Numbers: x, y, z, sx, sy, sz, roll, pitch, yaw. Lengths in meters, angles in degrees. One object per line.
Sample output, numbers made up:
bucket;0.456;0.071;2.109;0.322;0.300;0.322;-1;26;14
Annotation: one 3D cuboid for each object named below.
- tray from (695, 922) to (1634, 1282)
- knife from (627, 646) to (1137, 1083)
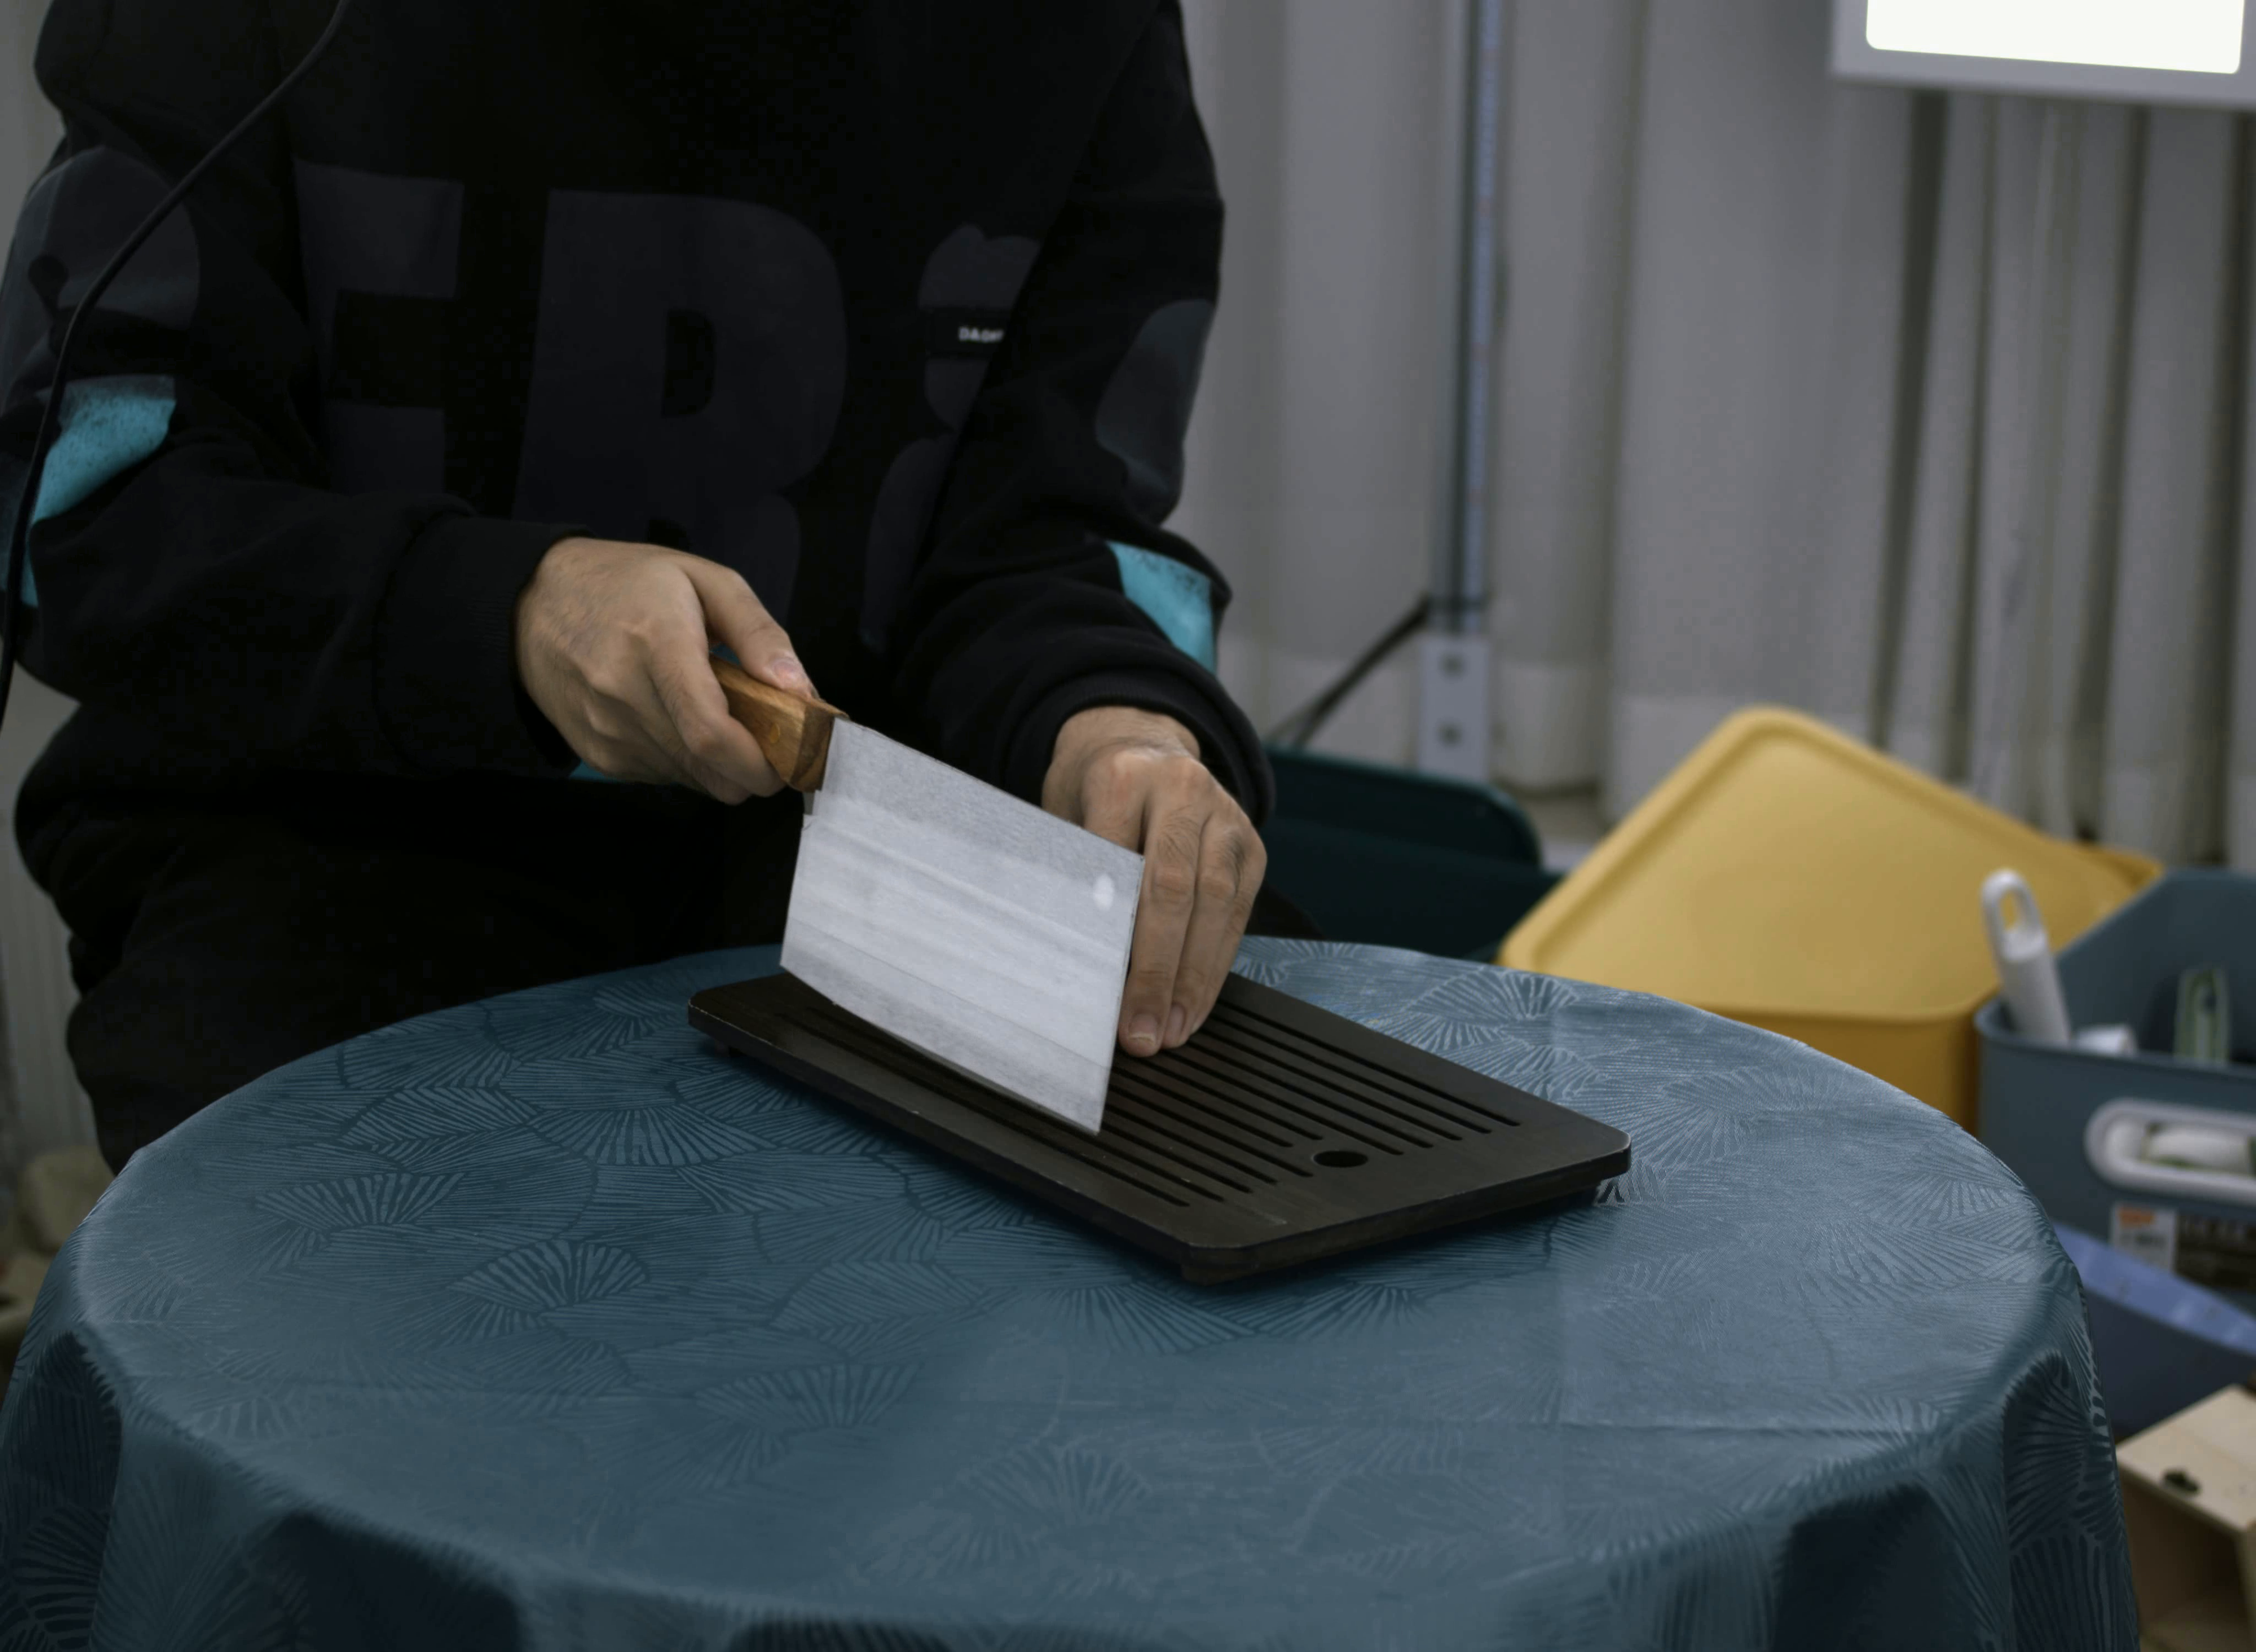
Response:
tray;0.006;0.083;1.692;0.171;0.019;0.302;-11;19;-34
knife;-0.086;0.012;1.711;0.021;0.093;0.301;-1;16;-35
